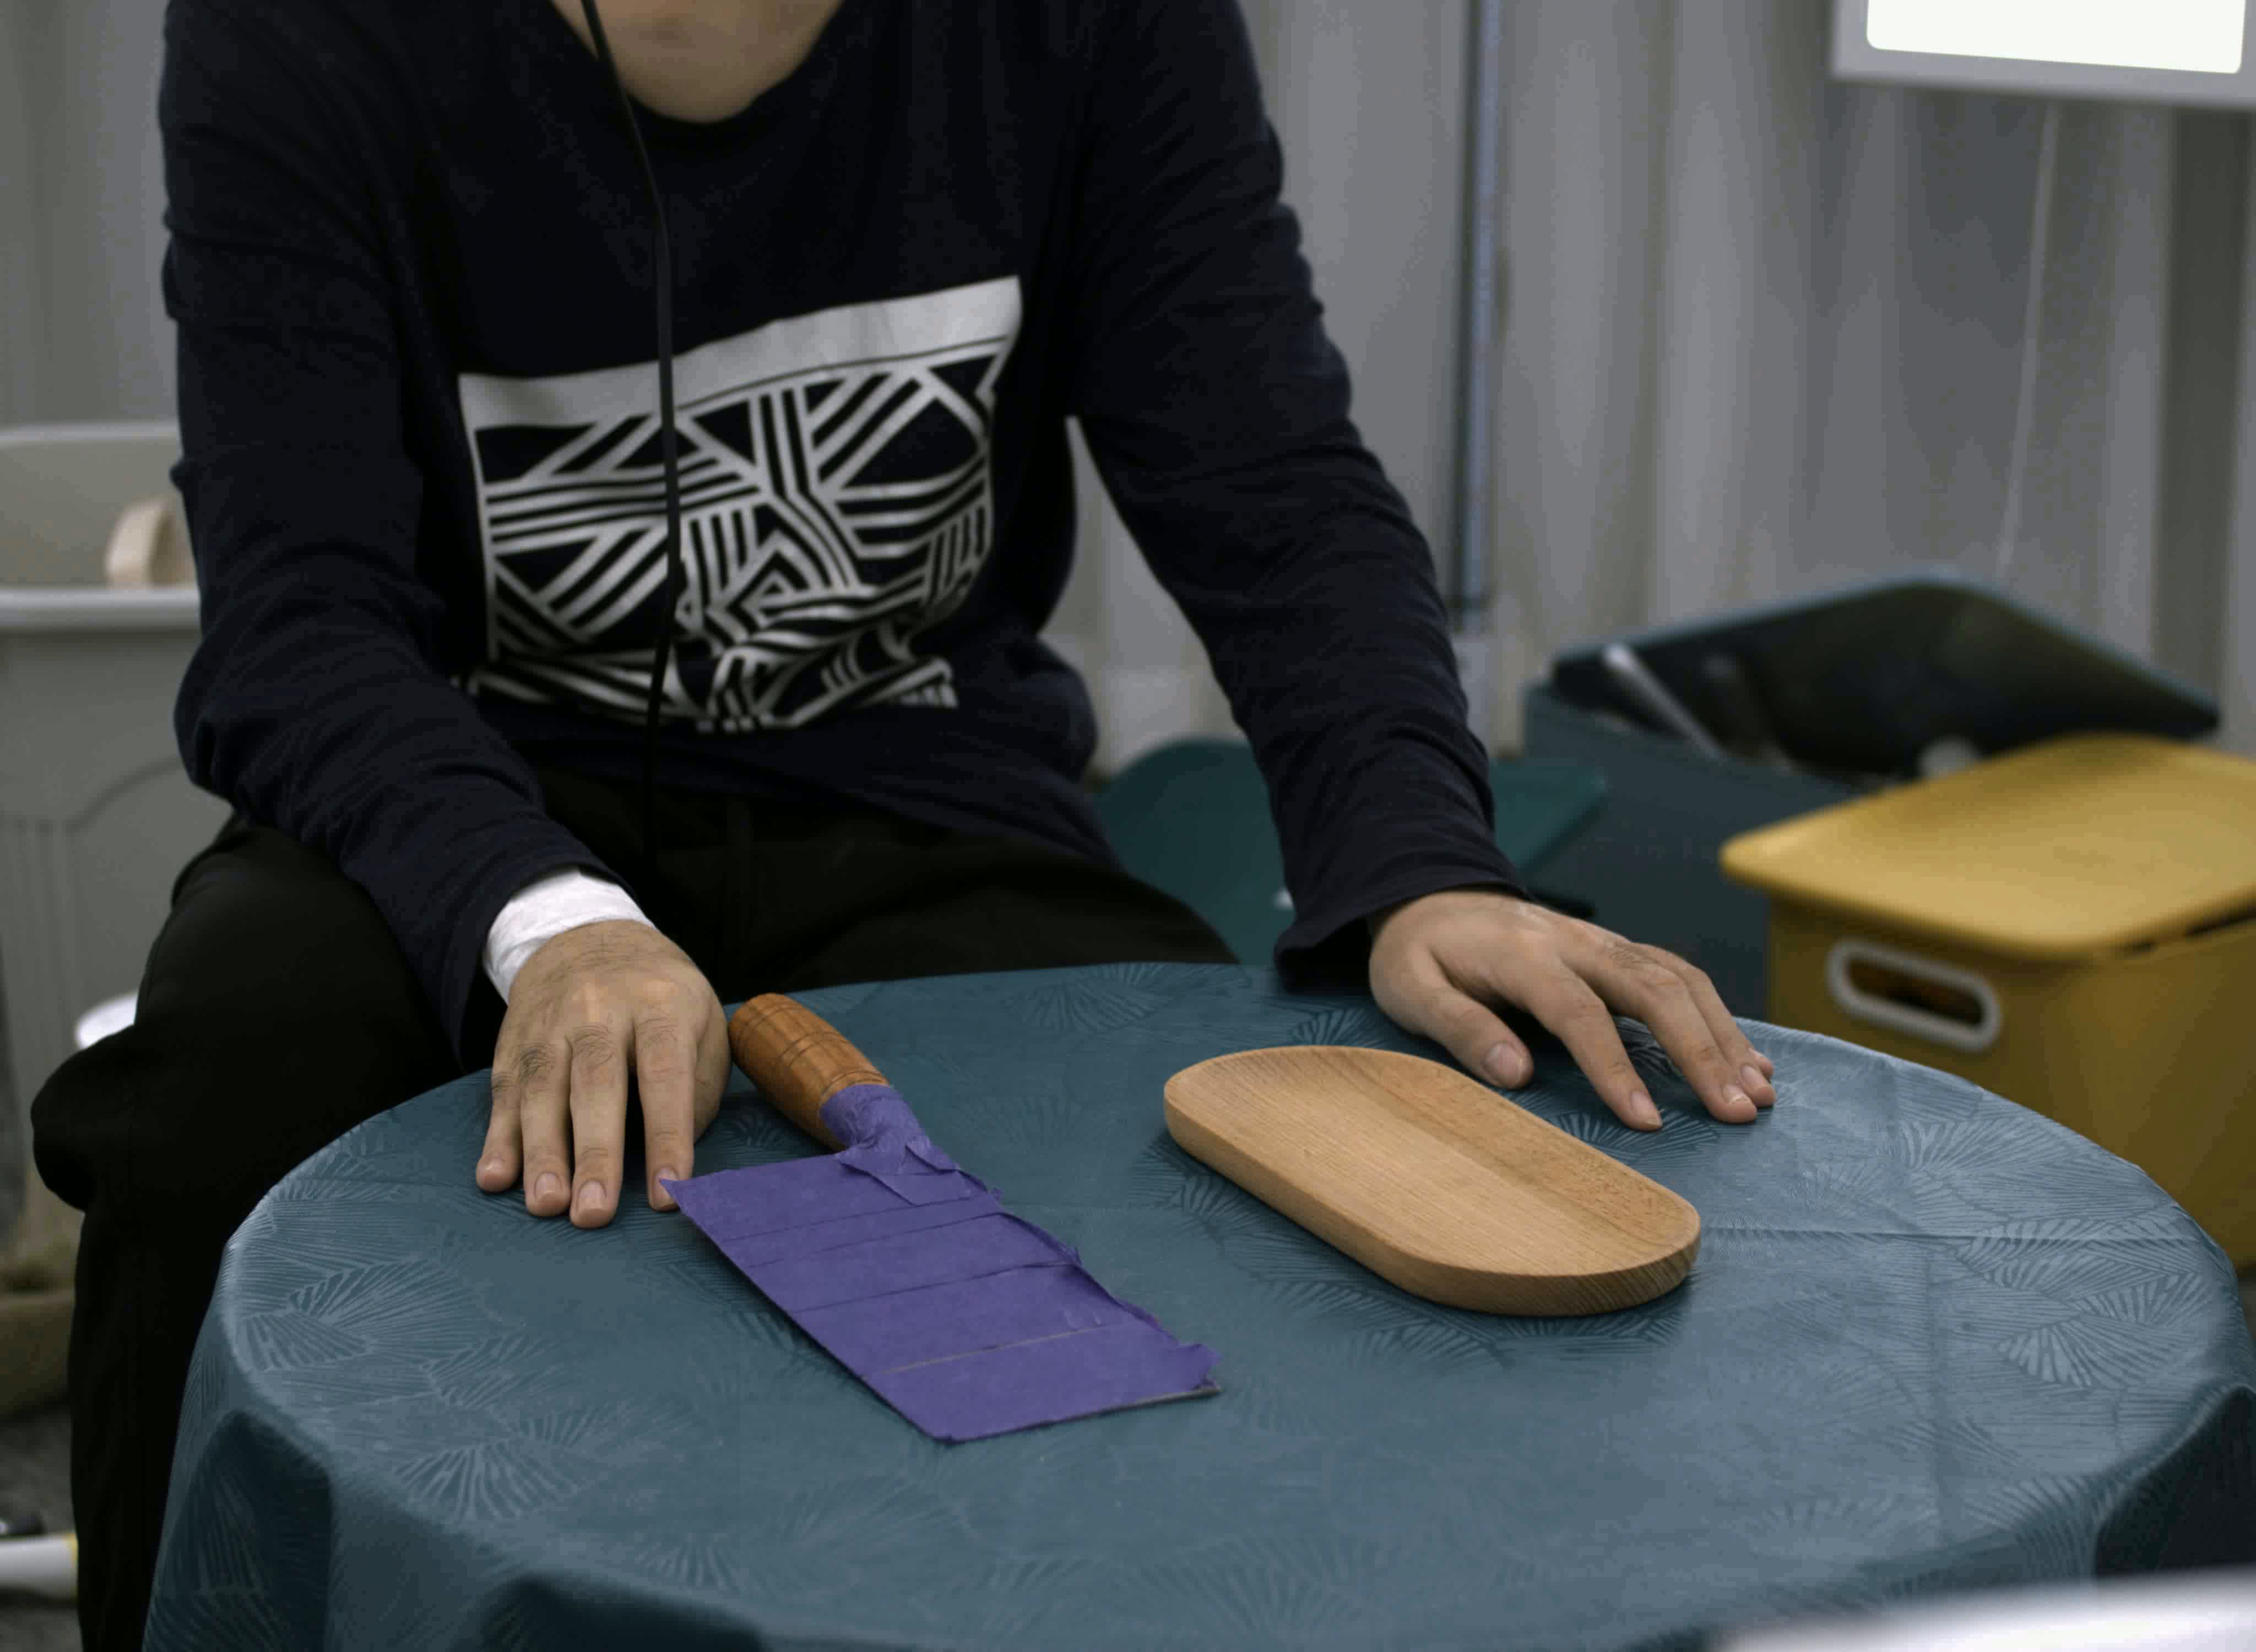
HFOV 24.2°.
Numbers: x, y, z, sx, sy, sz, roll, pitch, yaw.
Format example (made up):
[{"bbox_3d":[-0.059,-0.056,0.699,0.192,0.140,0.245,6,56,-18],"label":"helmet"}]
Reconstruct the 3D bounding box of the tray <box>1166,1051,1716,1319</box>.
[{"bbox_3d":[0.093,0.108,1.615,0.102,0.020,0.228,-8,19,-27],"label":"tray"}]

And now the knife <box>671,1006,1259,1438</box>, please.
[{"bbox_3d":[-0.078,0.114,1.567,0.104,0.032,0.311,-7,17,-27],"label":"knife"}]
